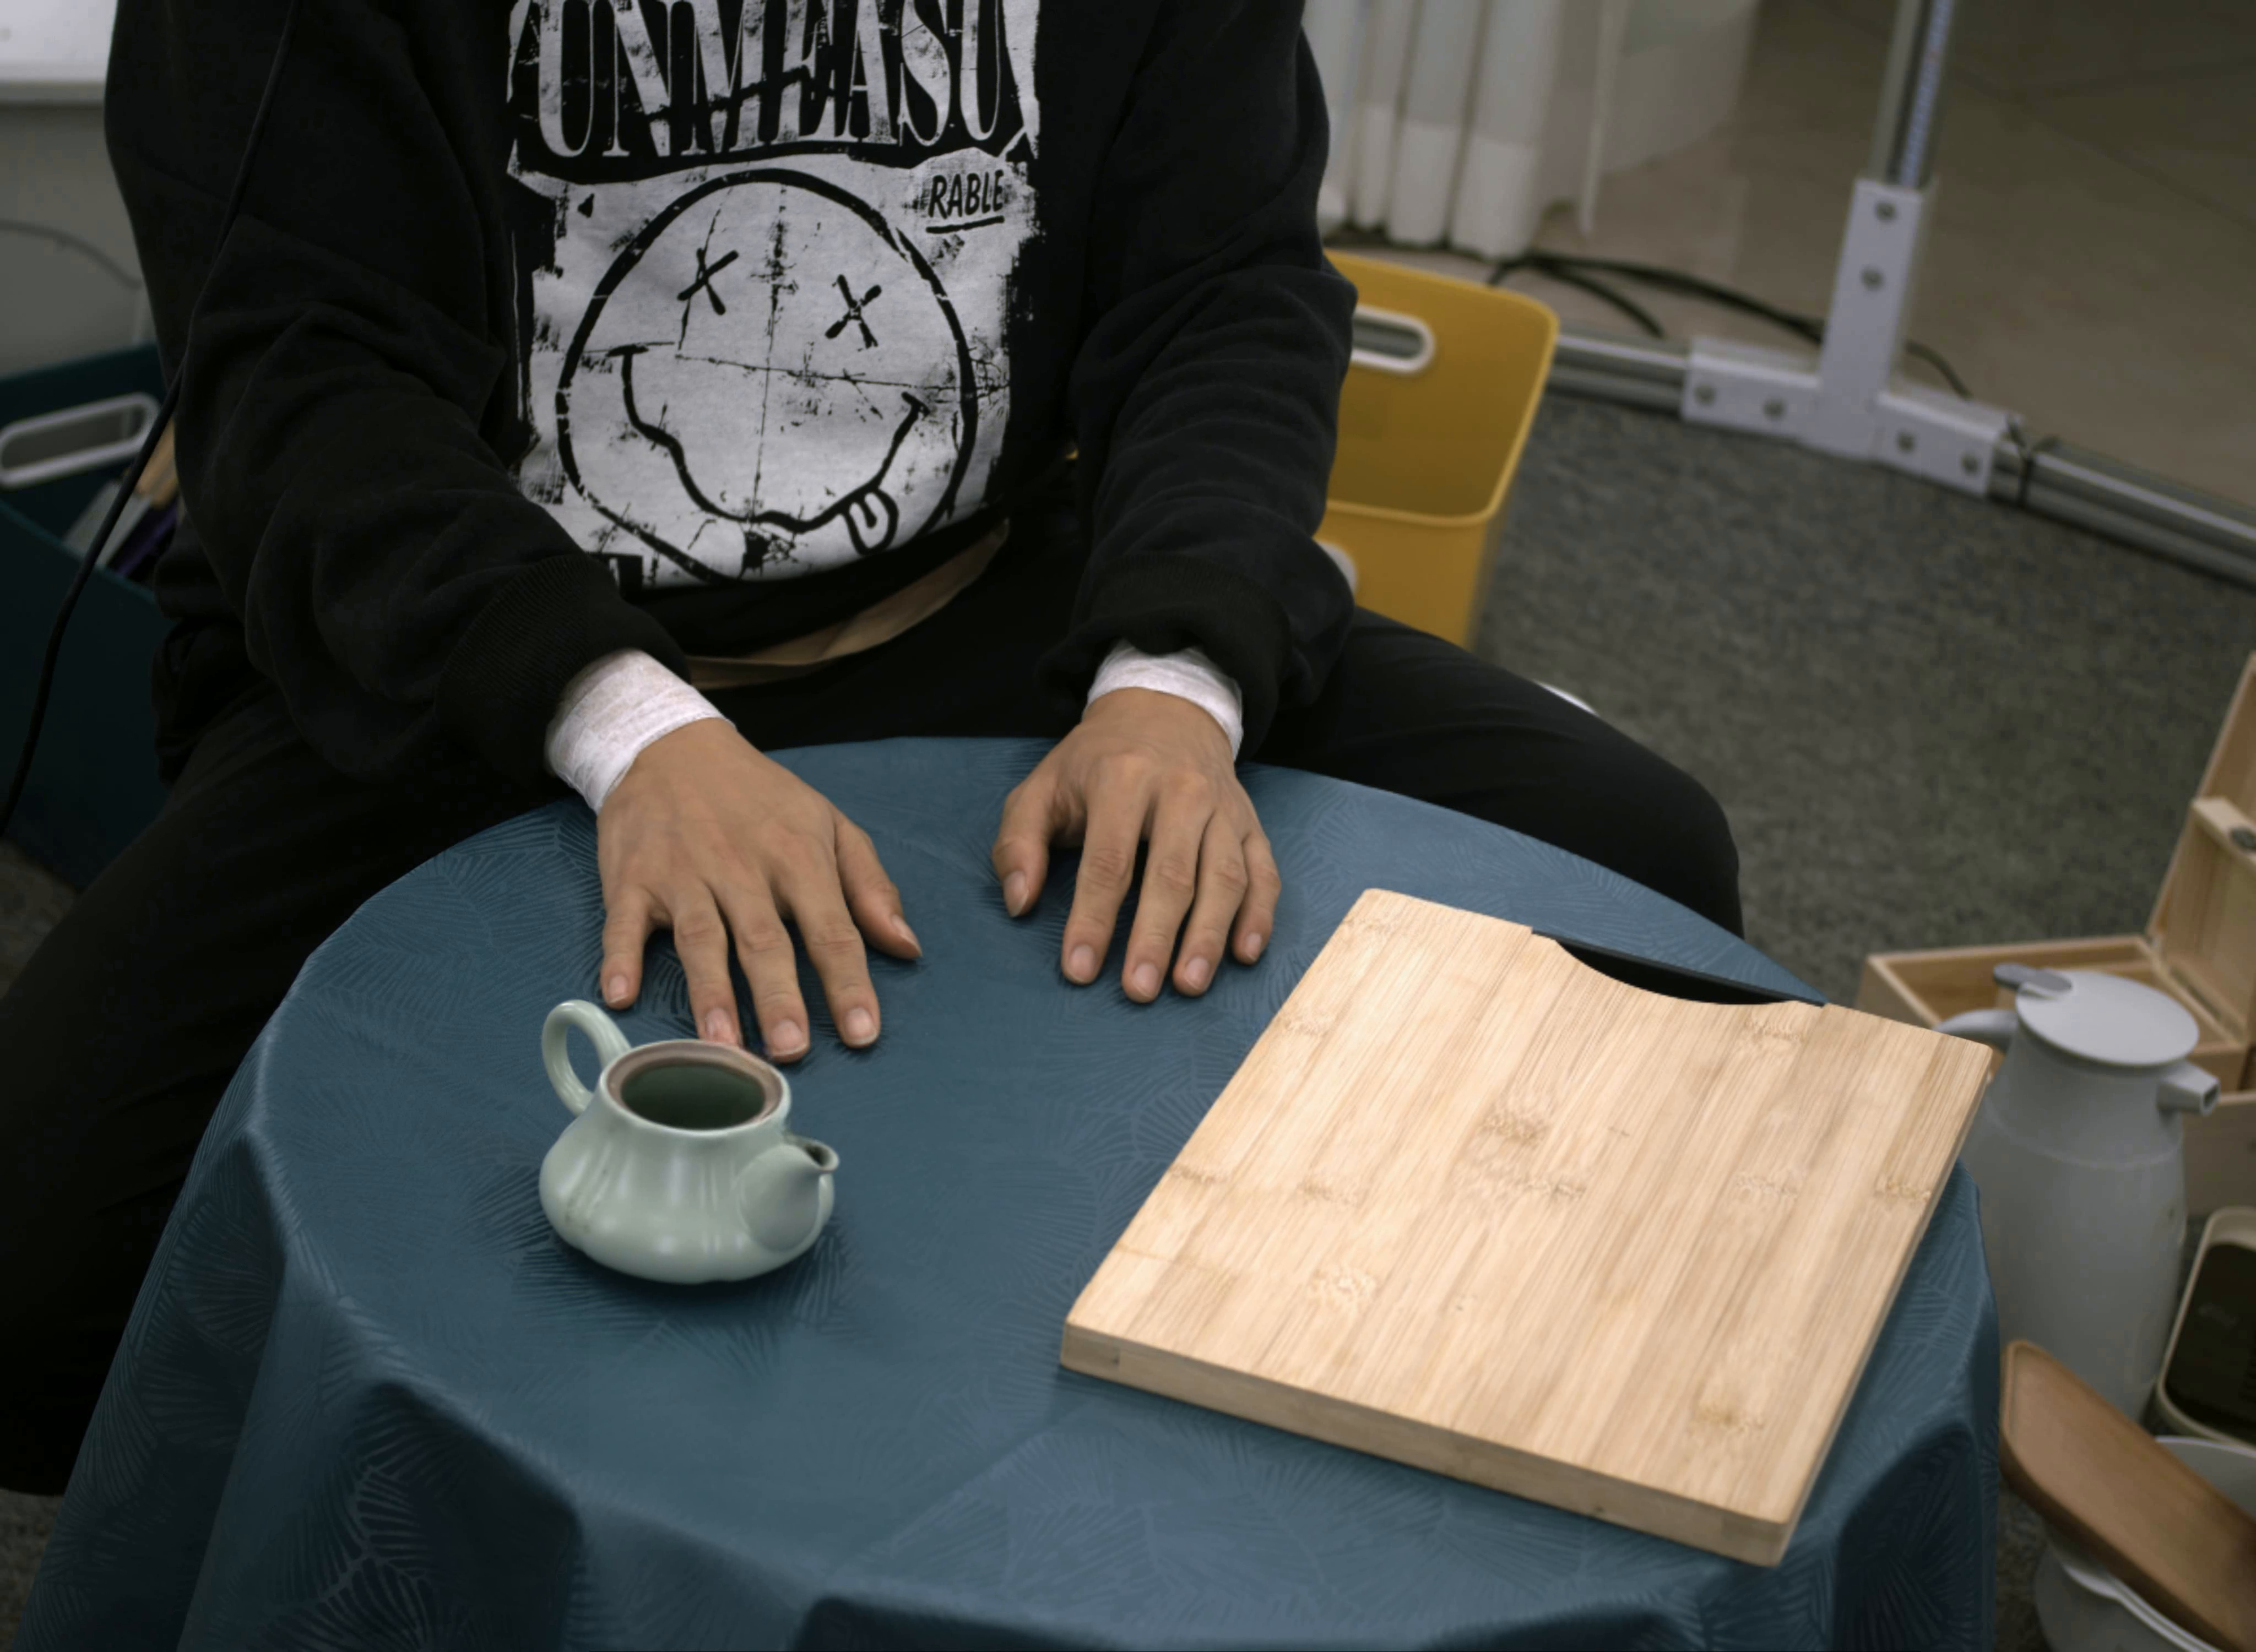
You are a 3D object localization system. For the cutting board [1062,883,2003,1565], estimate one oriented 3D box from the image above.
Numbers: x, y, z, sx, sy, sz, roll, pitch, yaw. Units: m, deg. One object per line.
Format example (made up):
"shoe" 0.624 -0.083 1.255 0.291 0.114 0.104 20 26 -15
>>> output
"cutting board" 0.147 0.125 1.817 0.251 0.023 0.349 14 28 14

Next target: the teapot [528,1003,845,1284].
"teapot" -0.147 0.106 1.741 0.138 0.061 0.096 26 34 34
